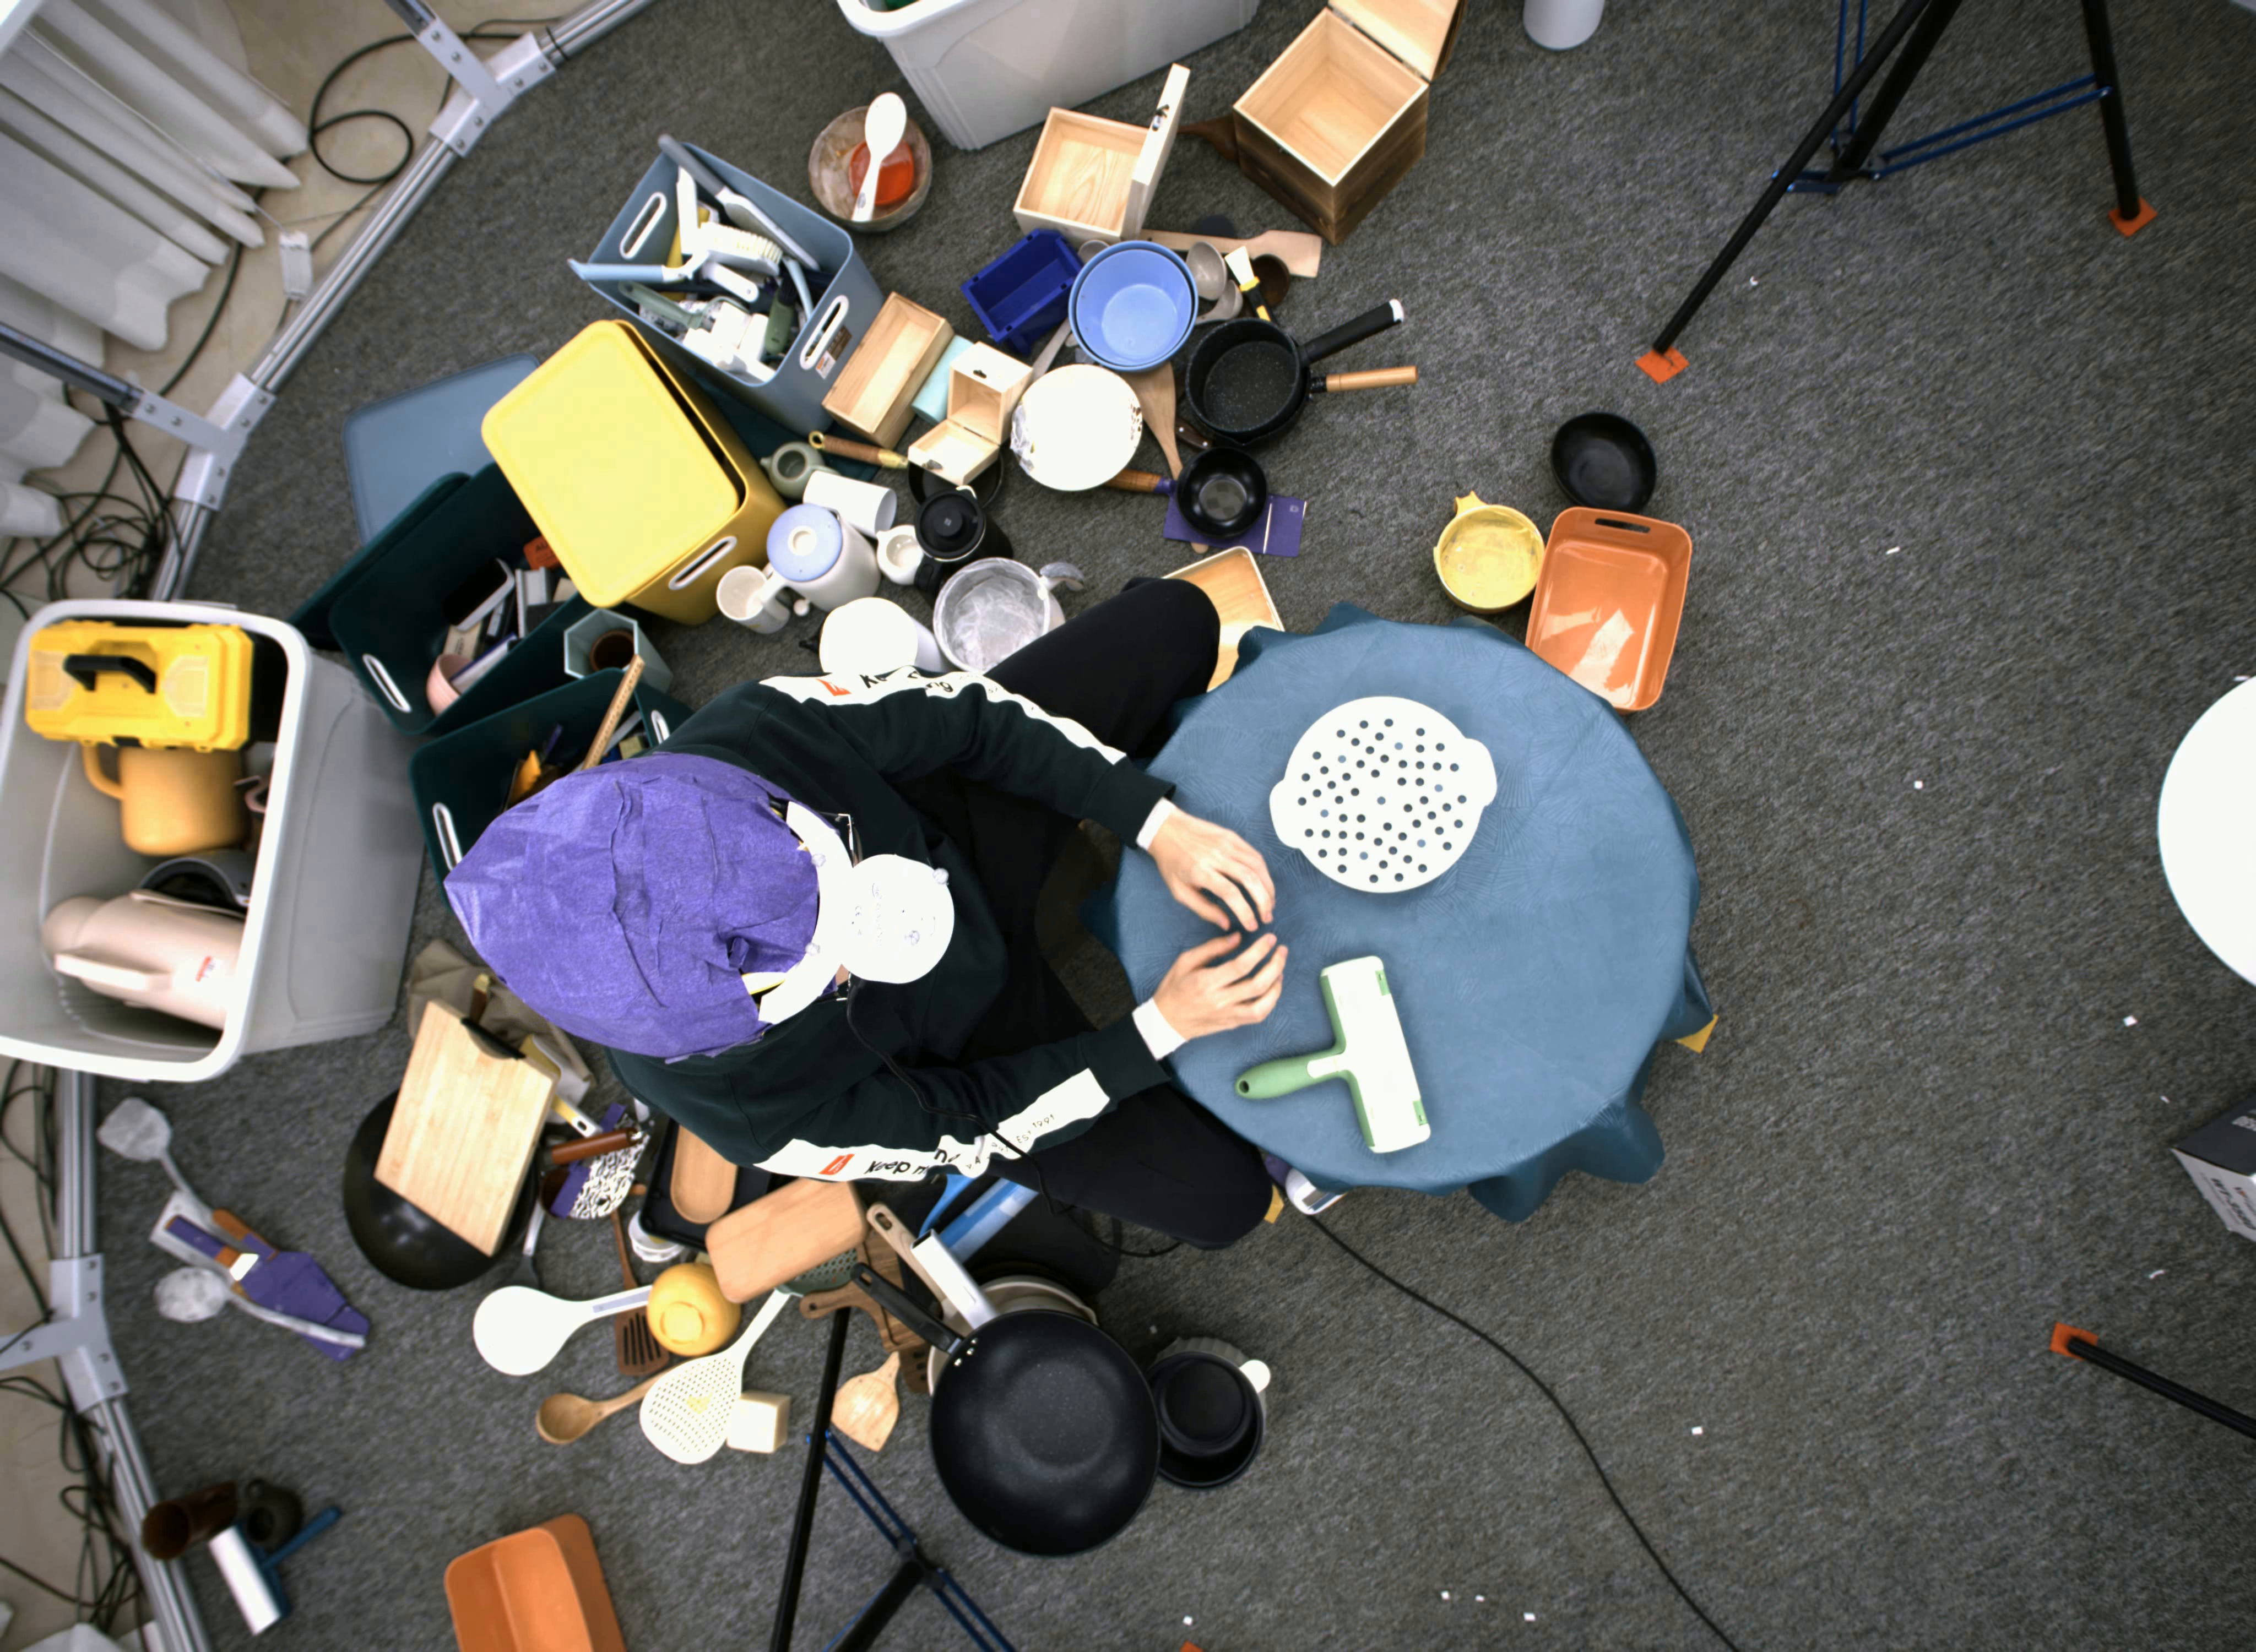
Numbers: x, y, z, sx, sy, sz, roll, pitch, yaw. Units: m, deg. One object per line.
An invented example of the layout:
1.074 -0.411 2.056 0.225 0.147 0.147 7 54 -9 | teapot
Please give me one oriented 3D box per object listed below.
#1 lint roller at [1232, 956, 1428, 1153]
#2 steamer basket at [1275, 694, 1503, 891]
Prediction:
0.195 0.247 1.421 0.184 0.082 0.197 -15 84 5 | lint roller
0.268 -0.033 1.426 0.231 0.069 0.201 -13 85 7 | steamer basket
